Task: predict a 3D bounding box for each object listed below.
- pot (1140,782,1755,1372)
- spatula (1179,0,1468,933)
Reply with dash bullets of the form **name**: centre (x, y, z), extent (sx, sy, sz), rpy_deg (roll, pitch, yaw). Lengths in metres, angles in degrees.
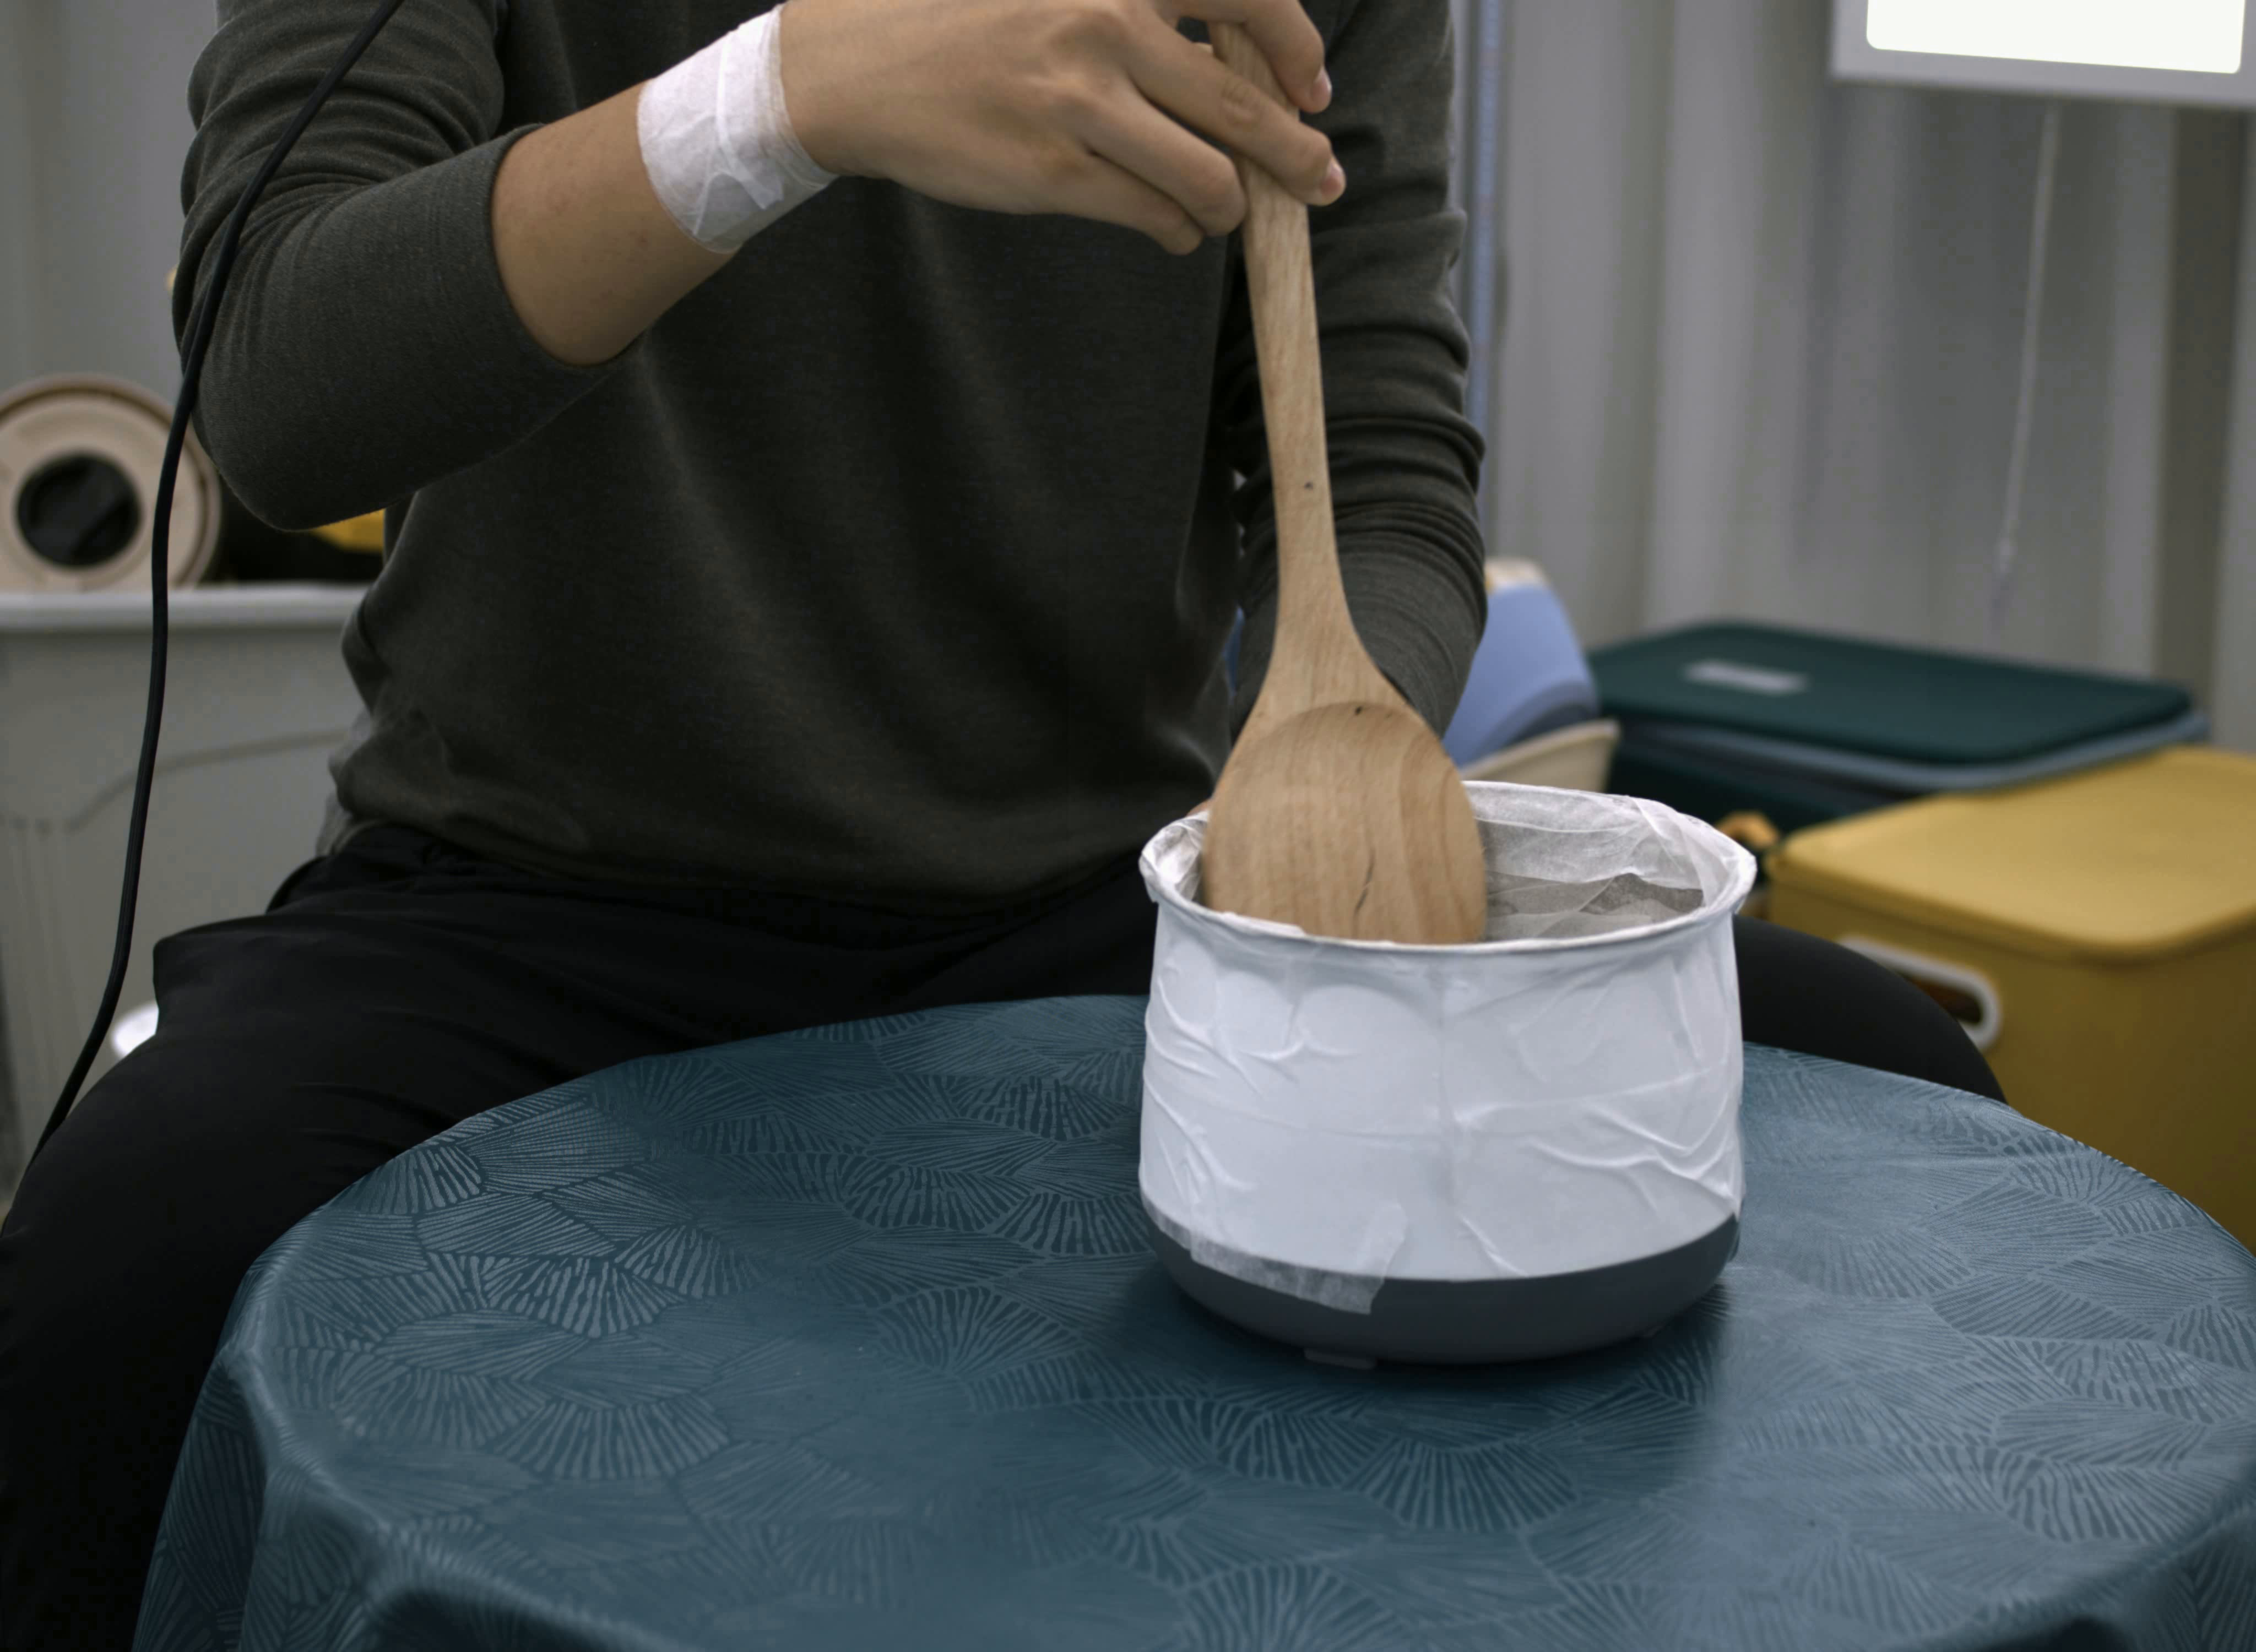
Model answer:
- **pot**: centre (0.082, 0.065, 1.548), extent (0.179, 0.138, 0.231), rpy_deg (-5, 16, -18)
- **spatula**: centre (0.039, -0.131, 1.512), extent (0.096, 0.394, 0.018), rpy_deg (-15, 18, -27)
